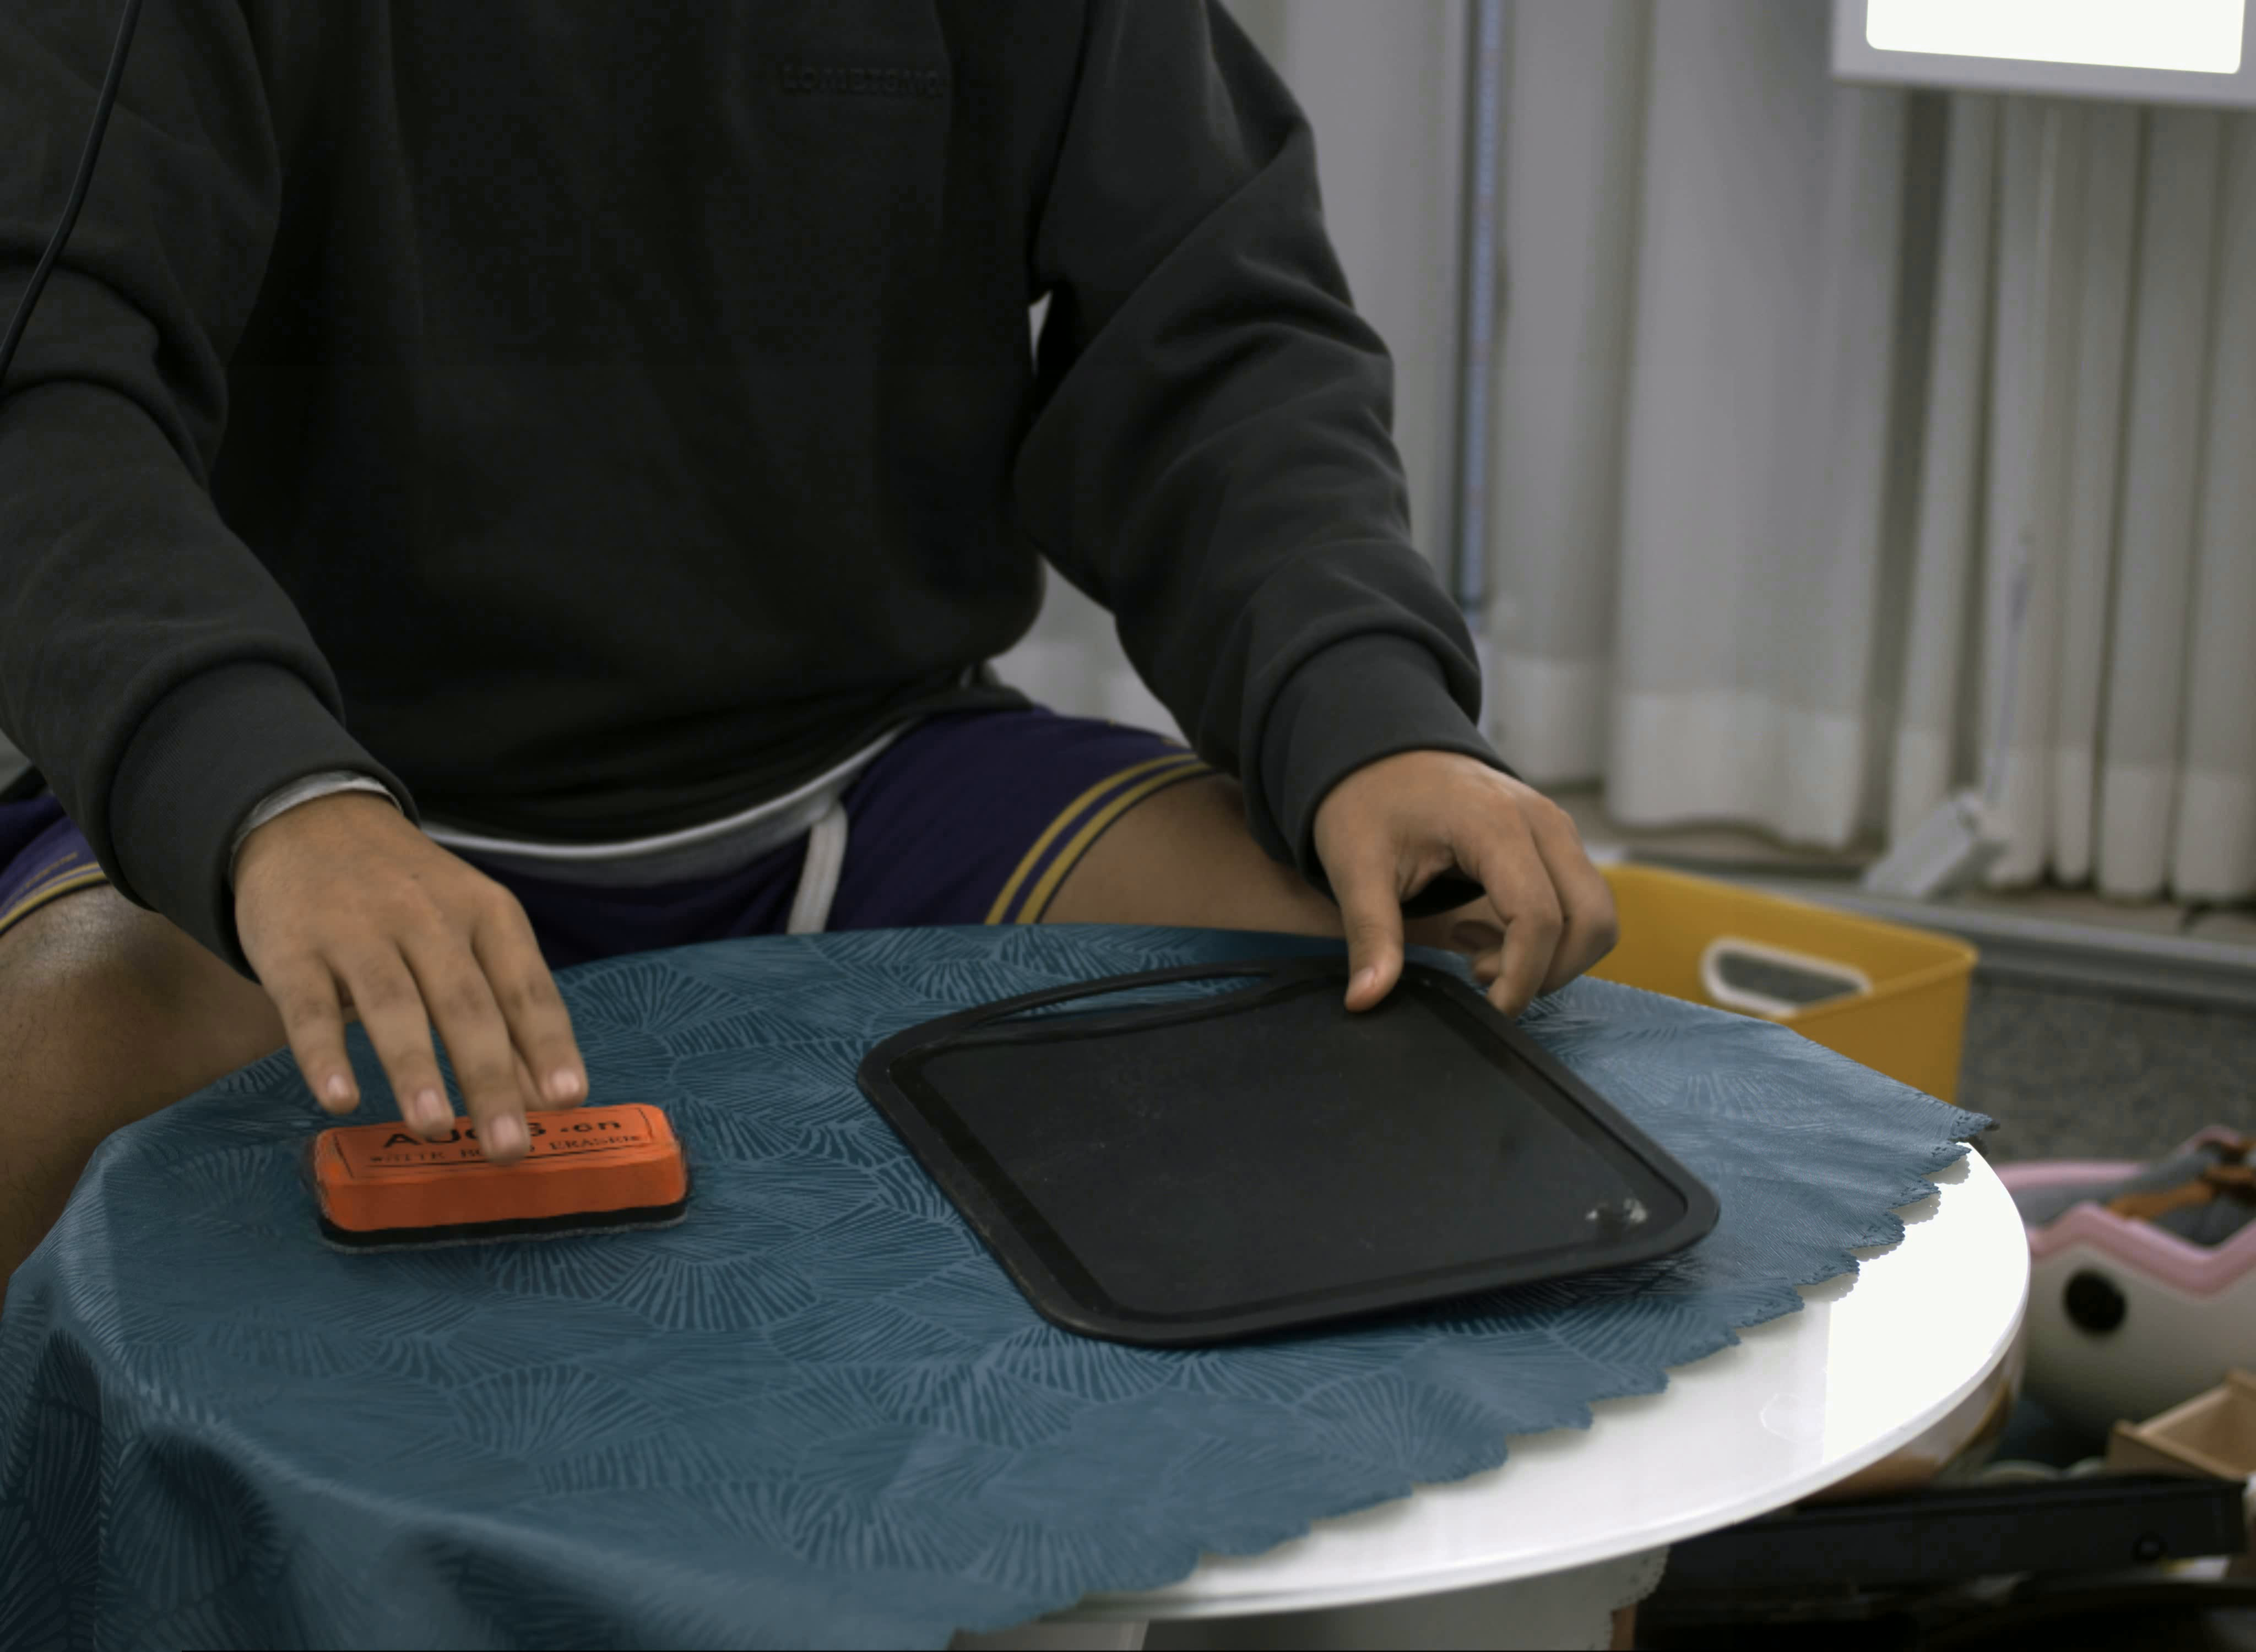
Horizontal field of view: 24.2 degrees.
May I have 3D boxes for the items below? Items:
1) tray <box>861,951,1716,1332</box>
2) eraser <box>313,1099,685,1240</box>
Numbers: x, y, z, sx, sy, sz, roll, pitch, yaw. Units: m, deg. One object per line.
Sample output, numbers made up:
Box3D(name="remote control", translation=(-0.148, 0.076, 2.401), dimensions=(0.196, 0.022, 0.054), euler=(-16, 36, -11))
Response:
Box3D(name="tray", translation=(0.039, 0.091, 1.654), dimensions=(0.211, 0.010, 0.322), euler=(-9, 17, -15))
Box3D(name="eraser", translation=(-0.191, 0.103, 1.593), dimensions=(0.108, 0.023, 0.058), euler=(-3, 16, -16))
